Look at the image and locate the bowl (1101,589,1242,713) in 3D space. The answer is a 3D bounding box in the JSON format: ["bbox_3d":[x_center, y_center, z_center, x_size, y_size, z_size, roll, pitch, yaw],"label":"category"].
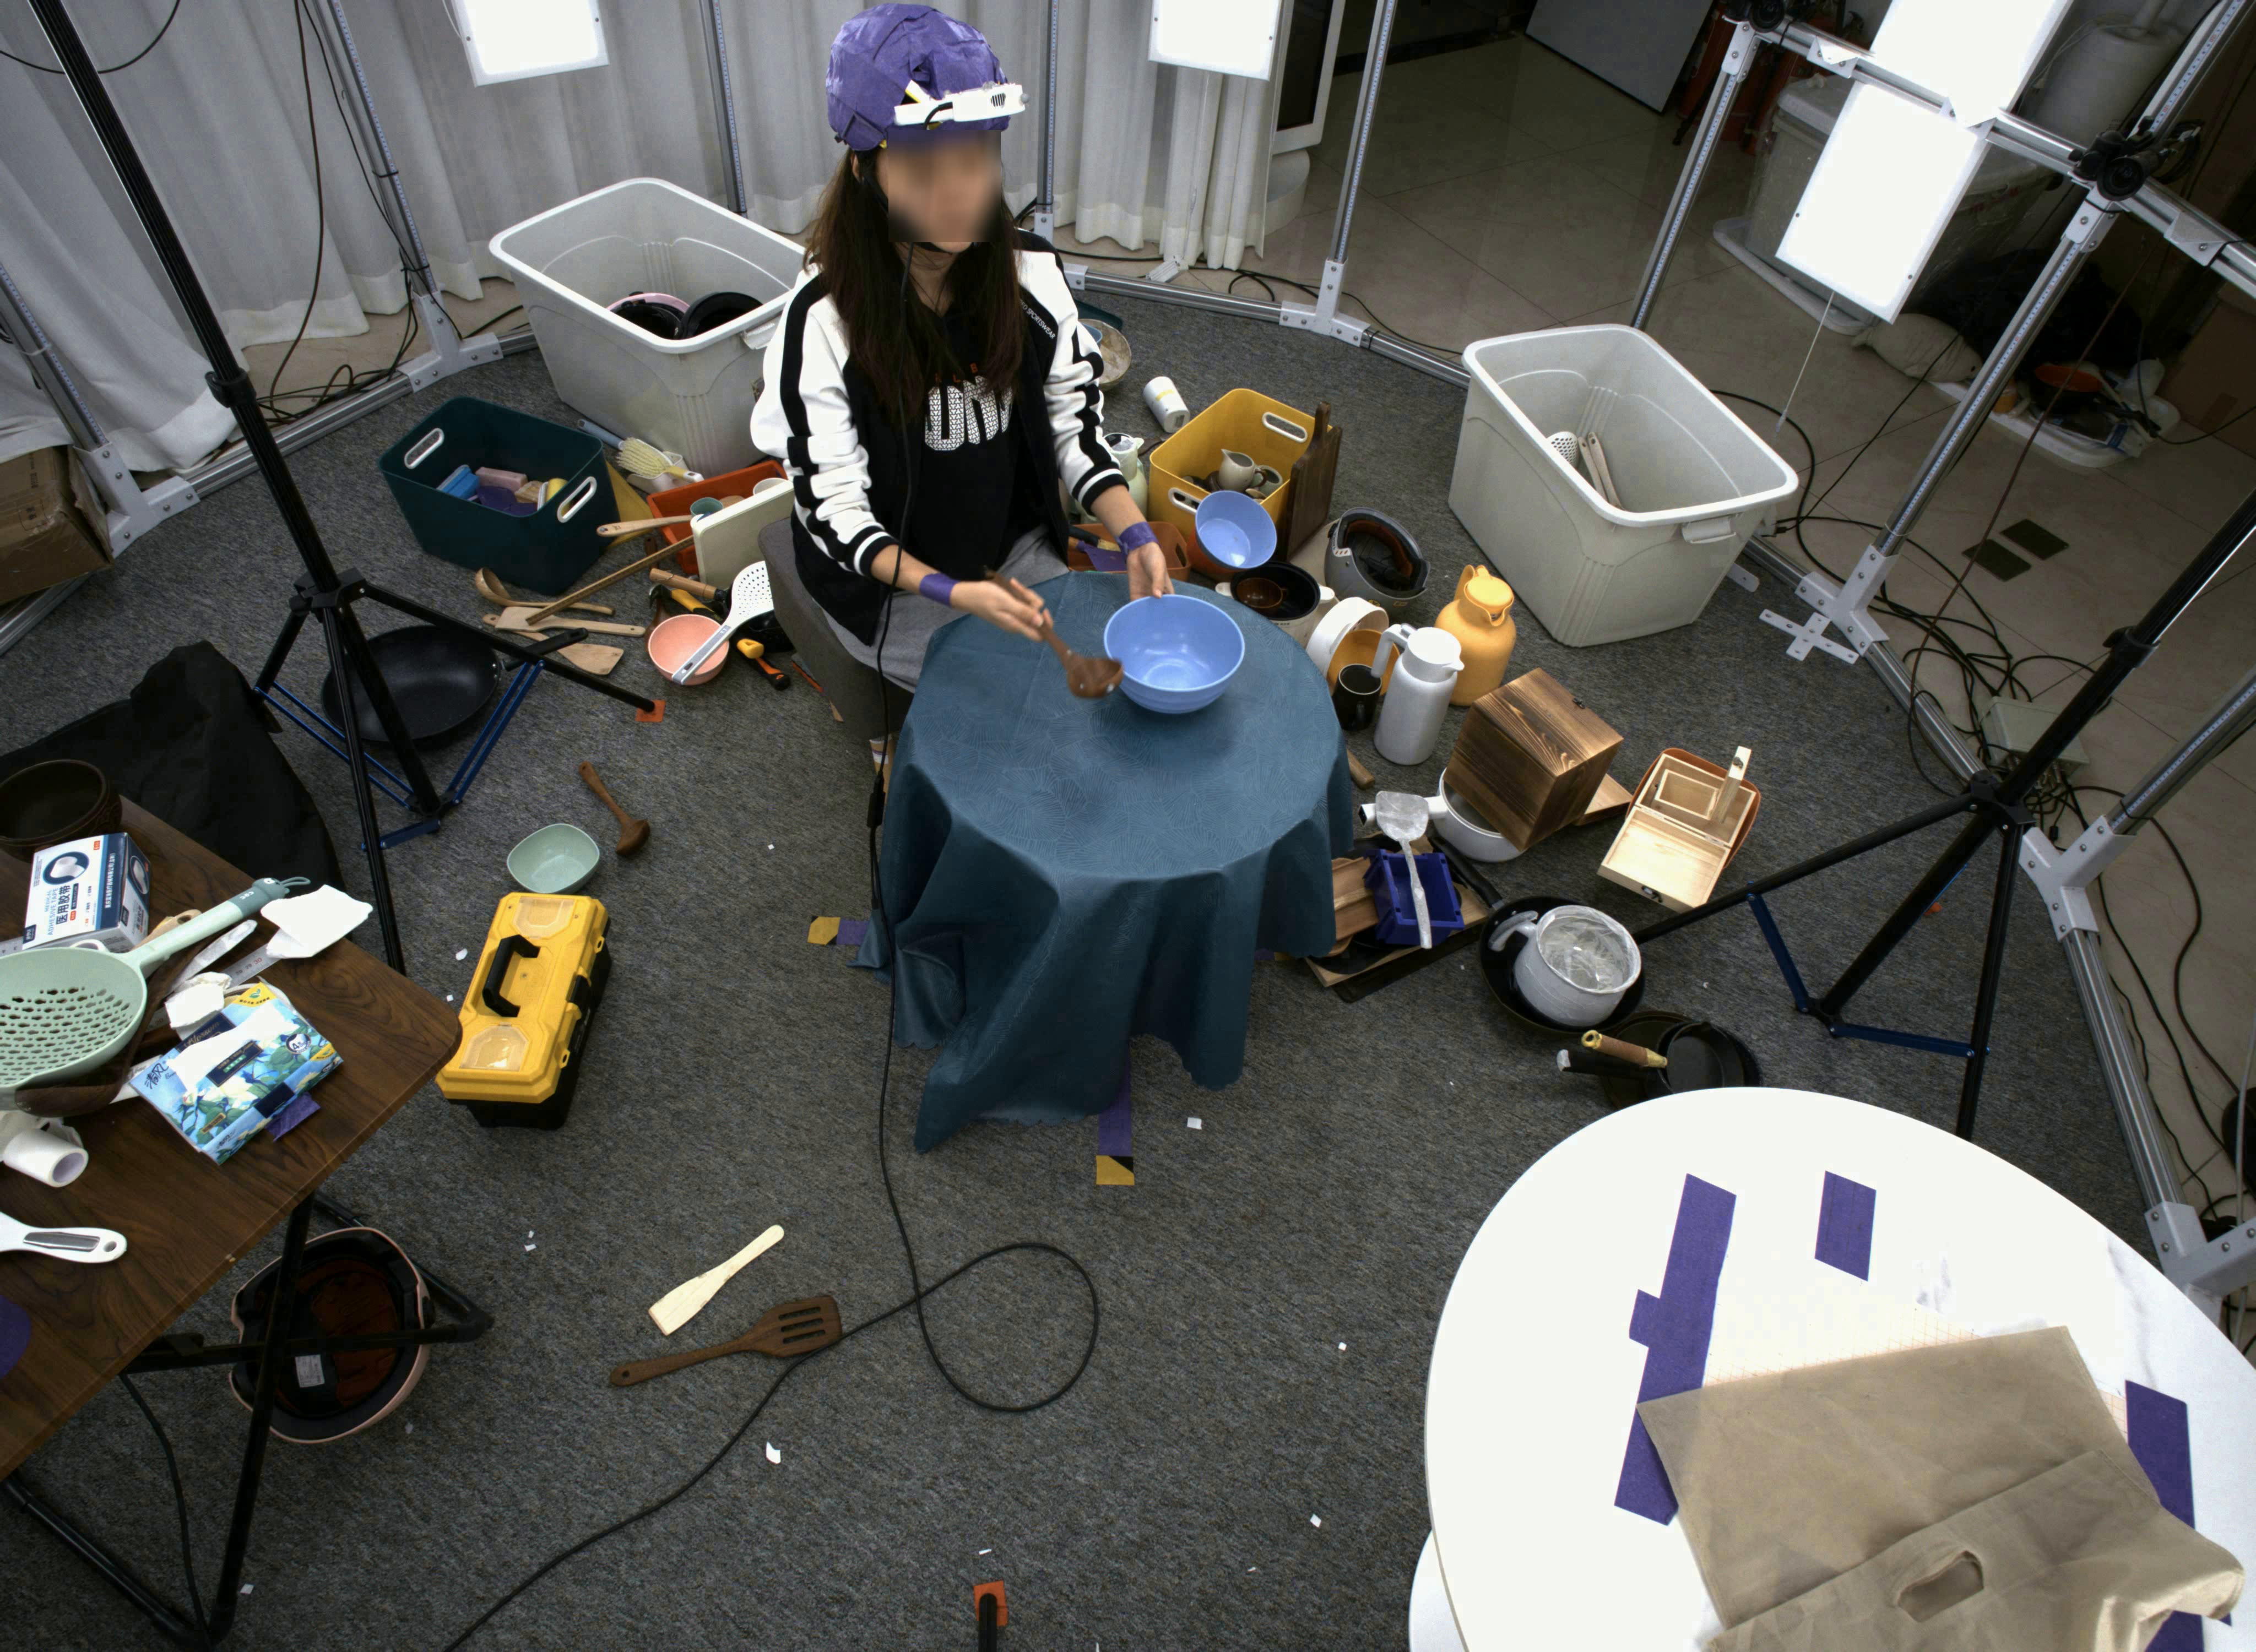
[{"bbox_3d":[0.059,-0.232,1.815,0.196,0.093,0.201,0,55,-1],"label":"bowl"}]

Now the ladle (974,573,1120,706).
[{"bbox_3d":[-0.111,-0.255,1.686,0.077,0.064,0.263,-34,74,-28],"label":"ladle"}]
